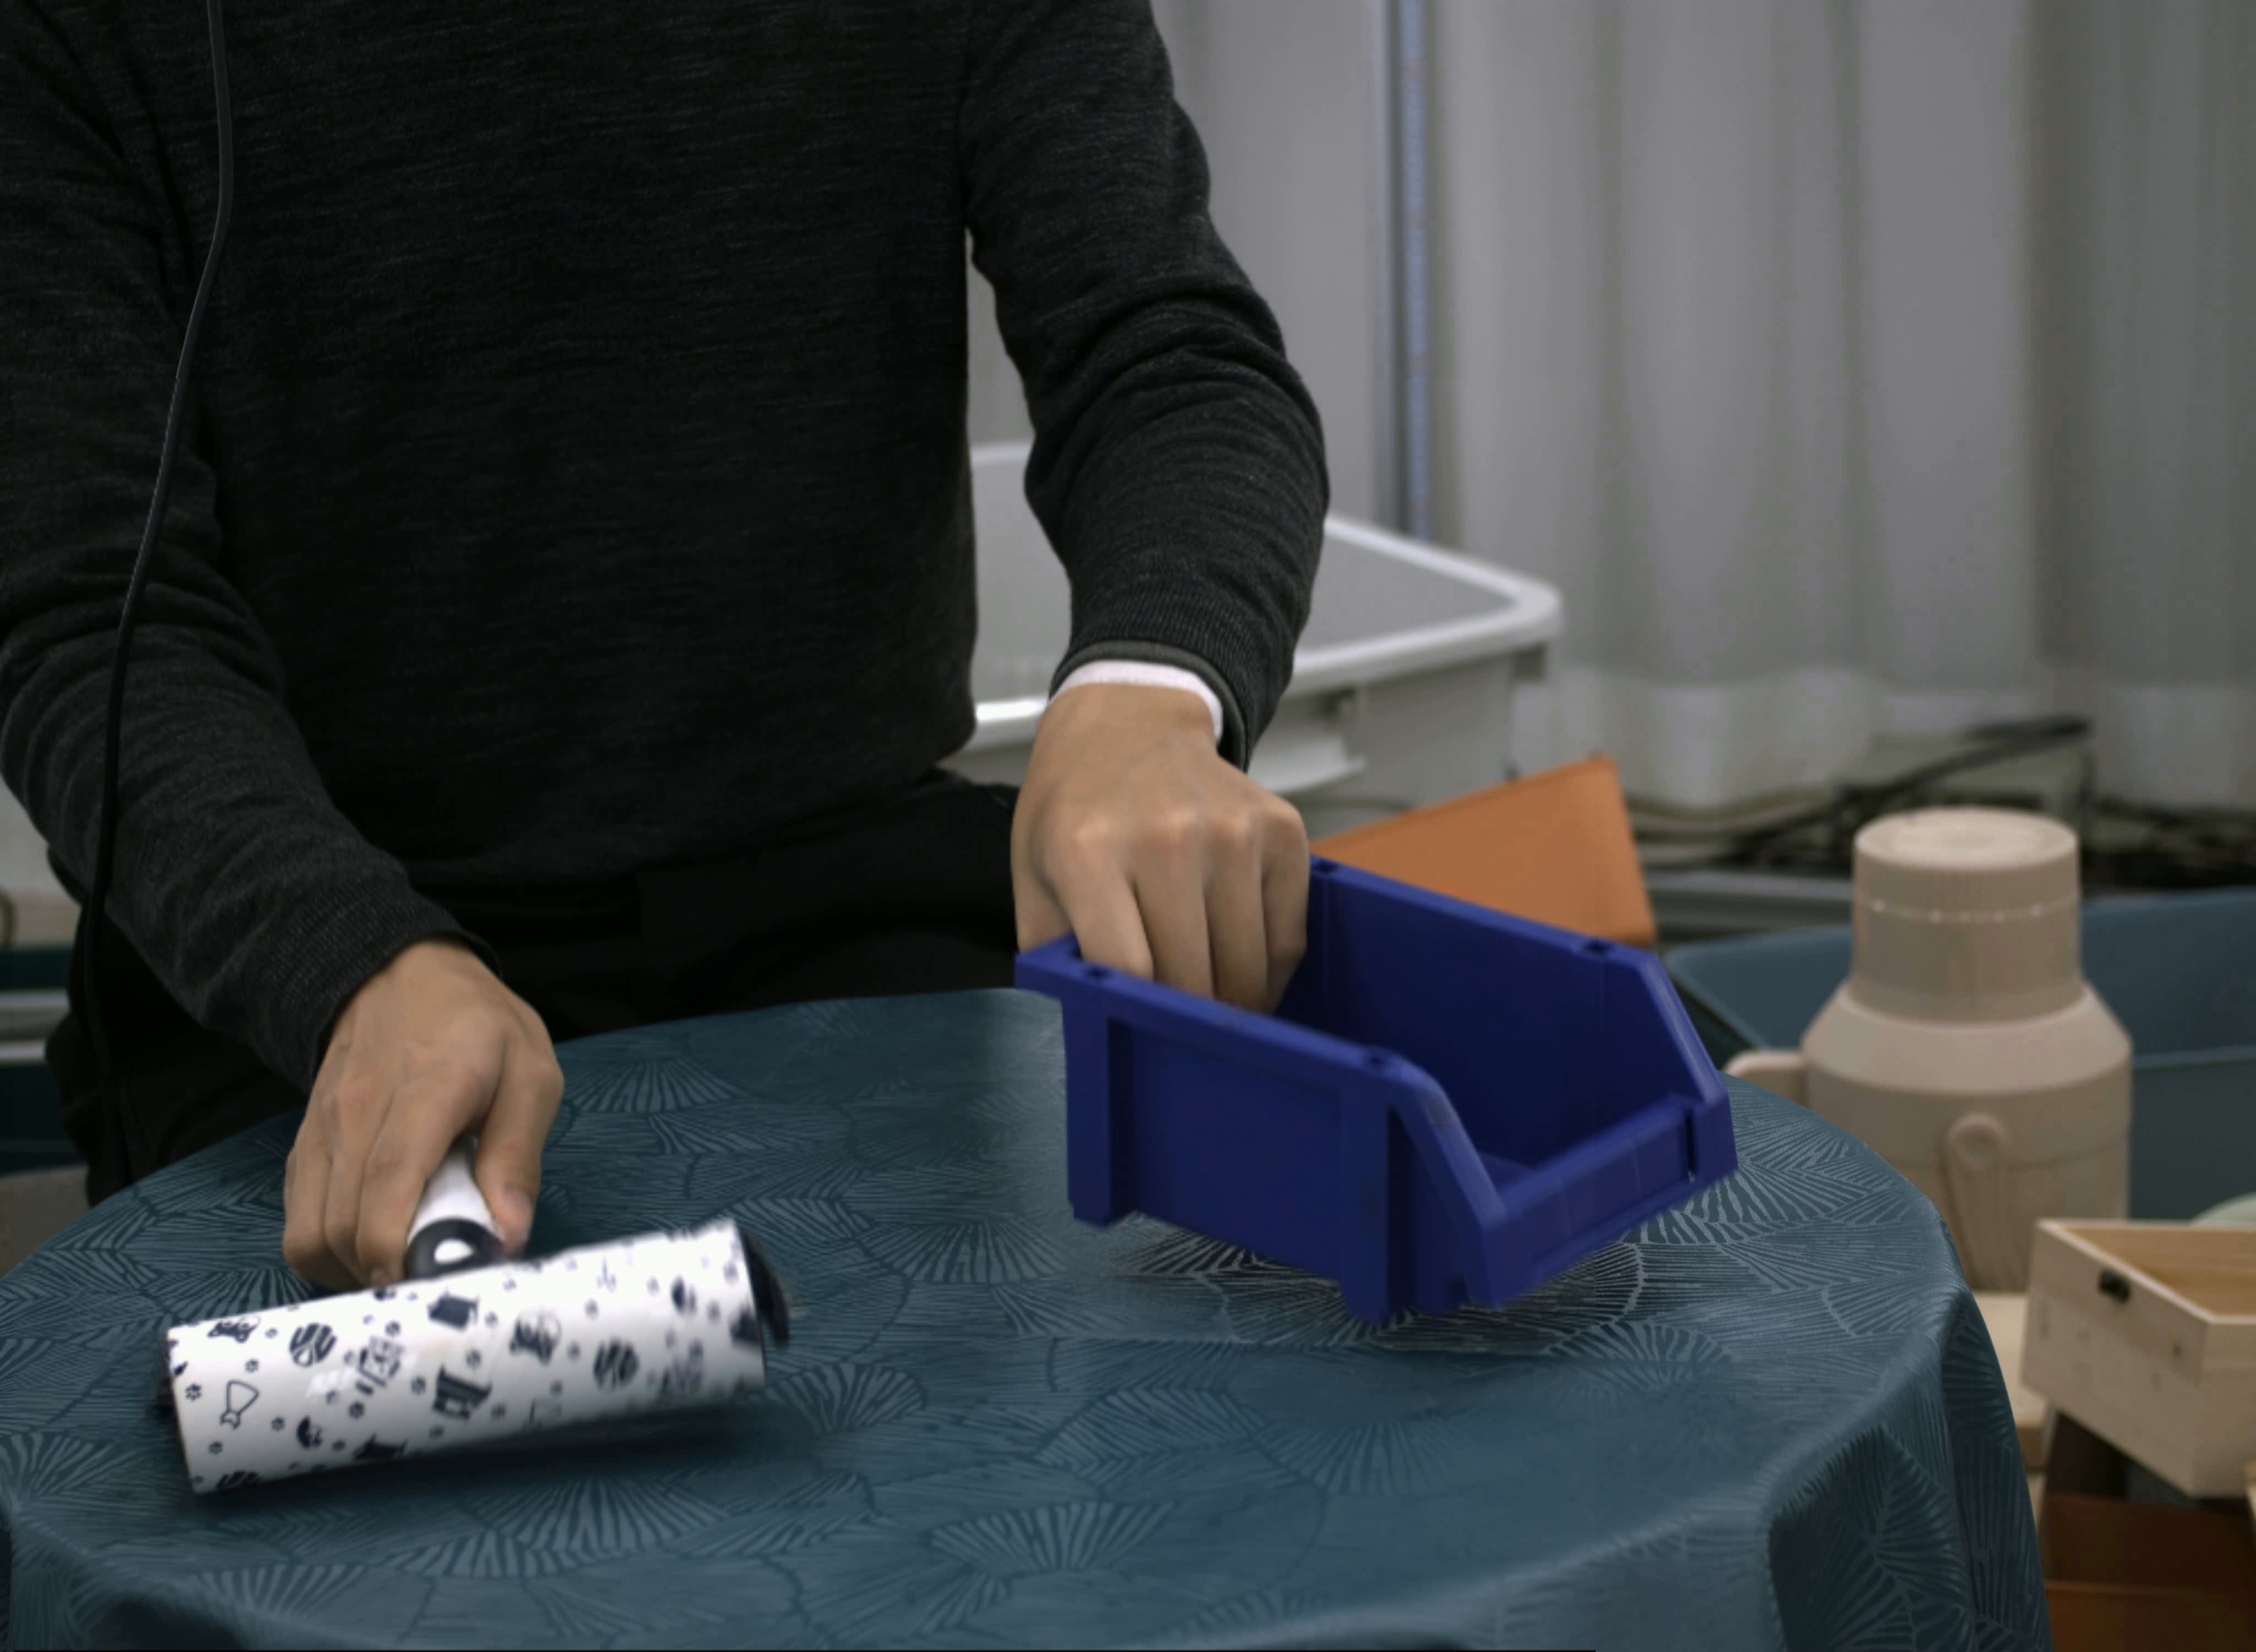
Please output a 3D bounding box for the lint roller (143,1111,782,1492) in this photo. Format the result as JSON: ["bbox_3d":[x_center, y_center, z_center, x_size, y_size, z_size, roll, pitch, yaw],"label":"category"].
[{"bbox_3d":[-0.201,0.120,1.606,0.176,0.050,0.249,-14,15,-7],"label":"lint roller"}]

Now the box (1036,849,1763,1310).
[{"bbox_3d":[0.081,0.075,1.611,0.180,0.081,0.124,13,23,41],"label":"box"}]
